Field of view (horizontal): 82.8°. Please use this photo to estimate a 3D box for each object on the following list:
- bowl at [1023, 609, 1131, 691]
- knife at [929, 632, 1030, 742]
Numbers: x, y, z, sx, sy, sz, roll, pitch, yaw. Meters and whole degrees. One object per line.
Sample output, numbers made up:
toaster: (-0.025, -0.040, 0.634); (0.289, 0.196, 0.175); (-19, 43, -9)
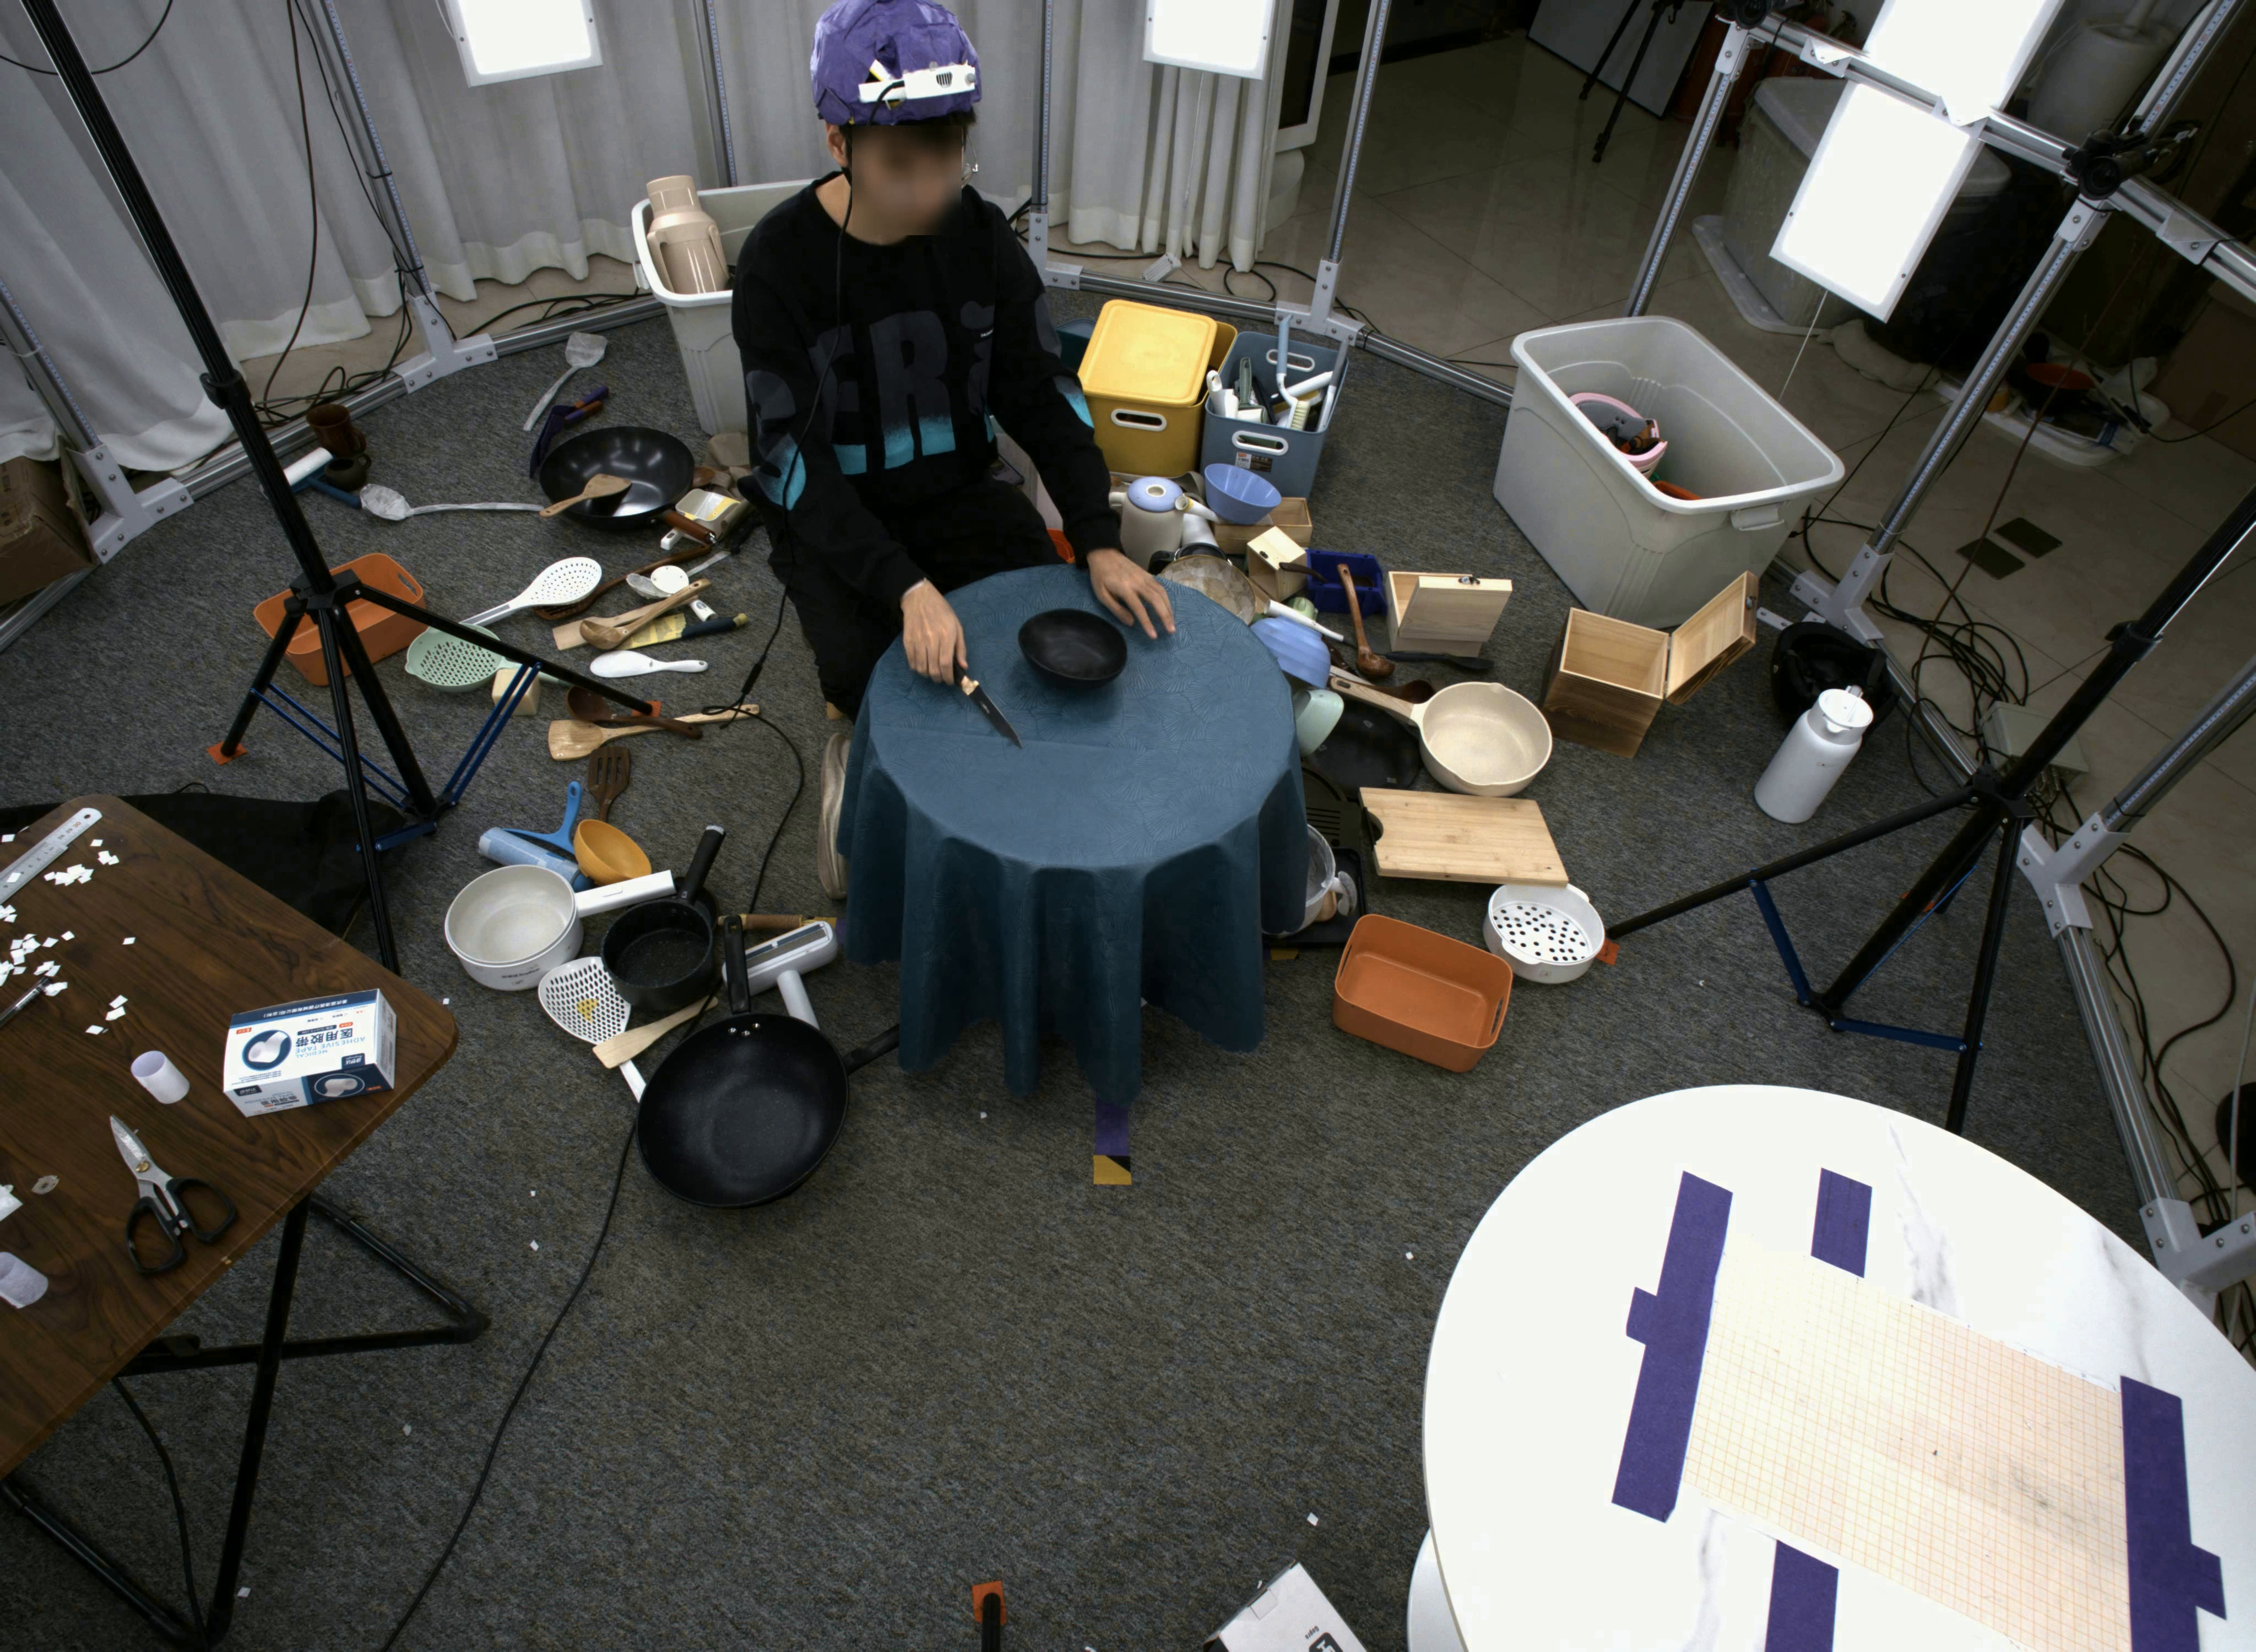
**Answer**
bowl: (-0.075, -0.240, 1.831); (0.172, 0.065, 0.139); (32, 54, 24)
knife: (-0.207, -0.191, 1.783); (0.229, 0.026, 0.017); (49, 29, 21)
